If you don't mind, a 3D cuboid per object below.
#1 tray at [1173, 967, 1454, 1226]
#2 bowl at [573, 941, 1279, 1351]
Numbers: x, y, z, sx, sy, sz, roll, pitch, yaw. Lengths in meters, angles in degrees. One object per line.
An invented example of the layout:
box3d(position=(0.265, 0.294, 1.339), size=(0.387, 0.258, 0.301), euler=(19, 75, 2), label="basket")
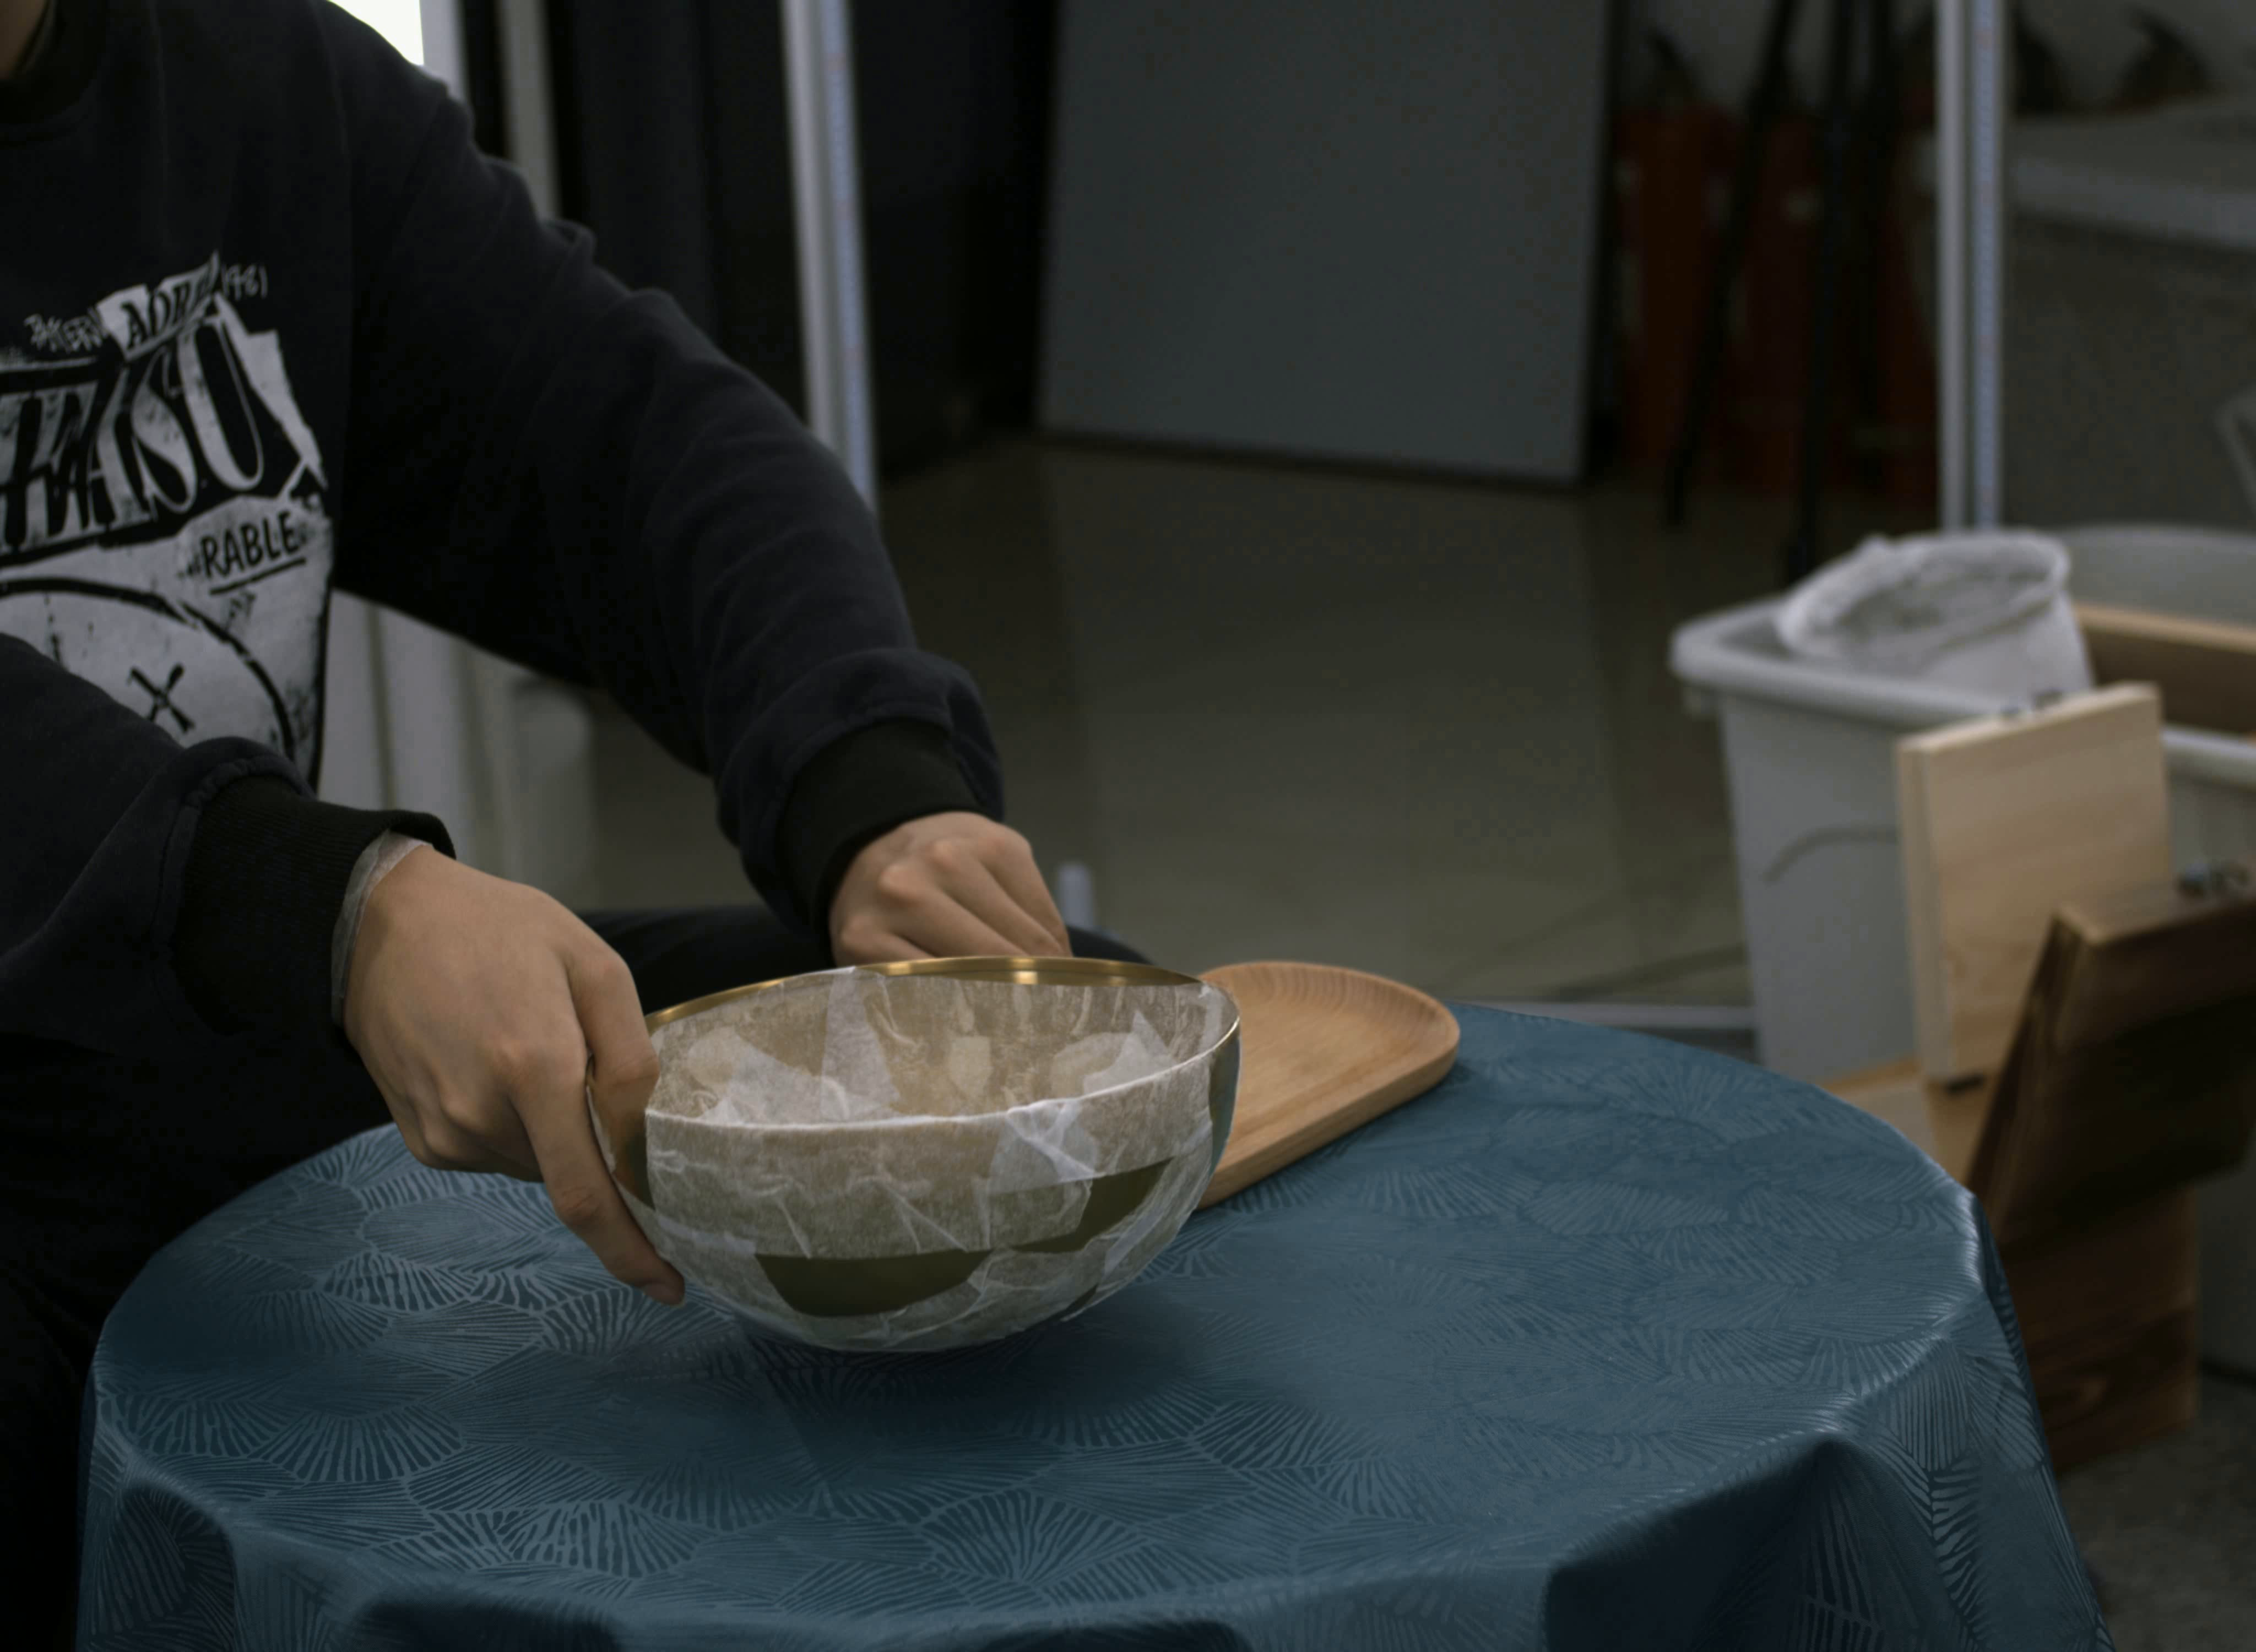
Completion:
box3d(position=(0.029, 0.091, 1.824), size=(0.102, 0.020, 0.227), euler=(15, 24, 30), label="tray")
box3d(position=(-0.058, 0.103, 1.623), size=(0.212, 0.095, 0.215), euler=(-6, 11, 0), label="bowl")
